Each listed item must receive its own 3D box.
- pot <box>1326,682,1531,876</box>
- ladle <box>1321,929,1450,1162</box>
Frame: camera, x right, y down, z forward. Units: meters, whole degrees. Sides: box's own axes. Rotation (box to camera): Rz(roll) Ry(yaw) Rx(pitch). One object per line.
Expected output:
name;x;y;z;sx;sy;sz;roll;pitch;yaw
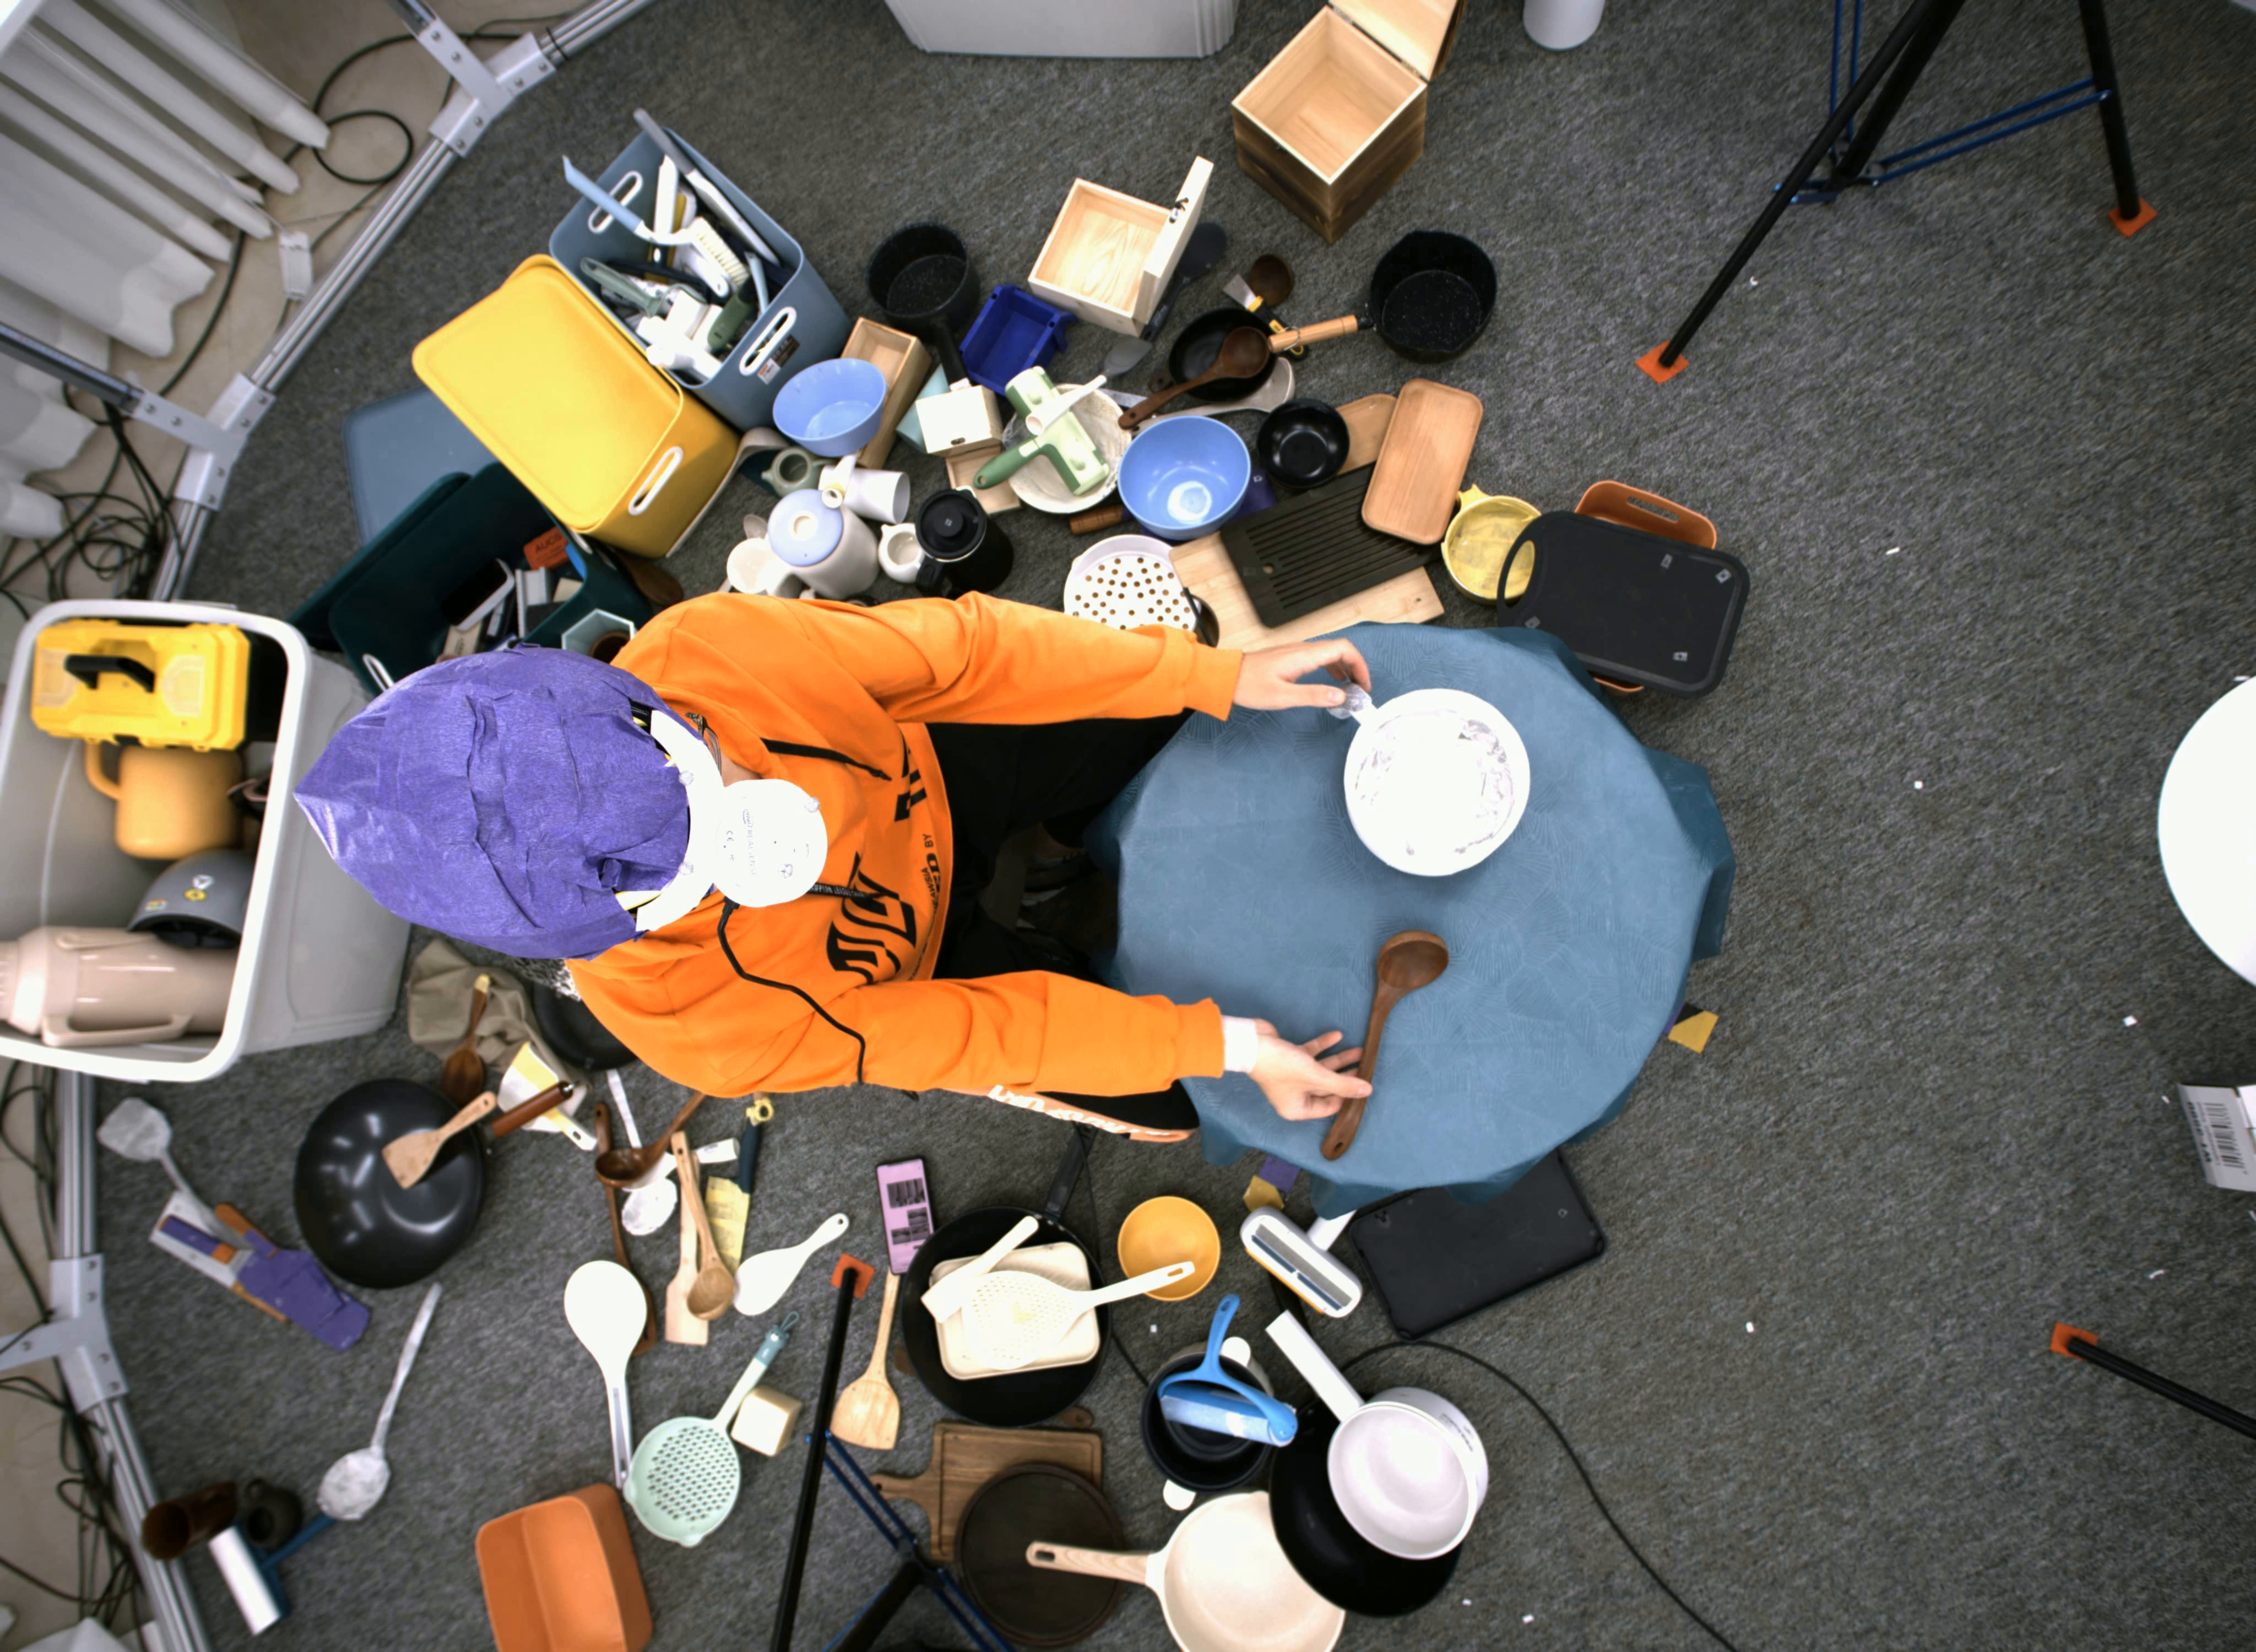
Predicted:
pot;0.289;-0.060;1.393;0.179;0.137;0.232;-45;81;3
ladle;0.260;0.227;1.423;0.076;0.065;0.260;20;90;-15
